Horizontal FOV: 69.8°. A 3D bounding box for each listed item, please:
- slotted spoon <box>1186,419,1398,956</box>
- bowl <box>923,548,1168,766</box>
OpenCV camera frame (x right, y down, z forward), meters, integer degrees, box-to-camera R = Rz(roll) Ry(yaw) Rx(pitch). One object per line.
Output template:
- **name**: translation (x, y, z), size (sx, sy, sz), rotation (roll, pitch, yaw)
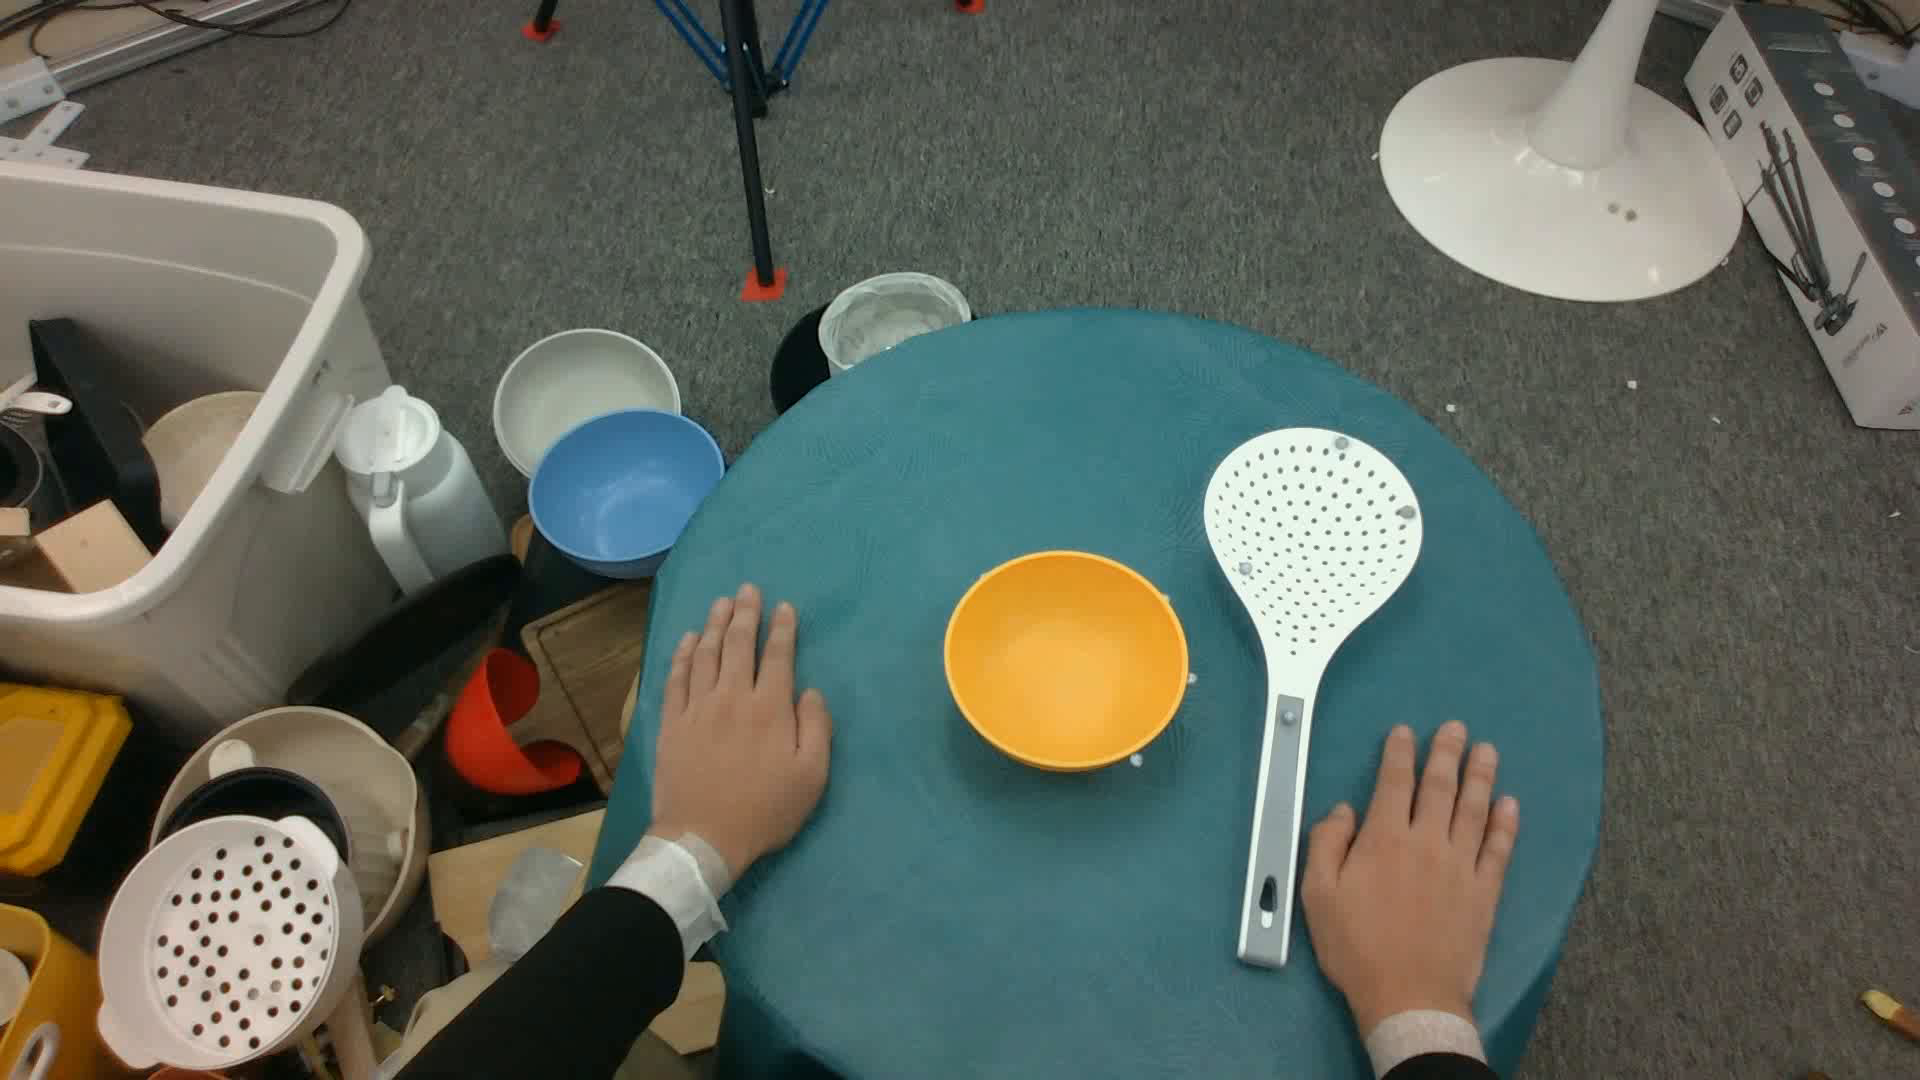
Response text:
- **slotted spoon**: translation (0.191, 0.077, 0.841), size (0.136, 0.045, 0.351), rotation (10, 58, 6)
- **bowl**: translation (0.050, 0.079, 0.831), size (0.145, 0.060, 0.146), rotation (0, 55, 0)
